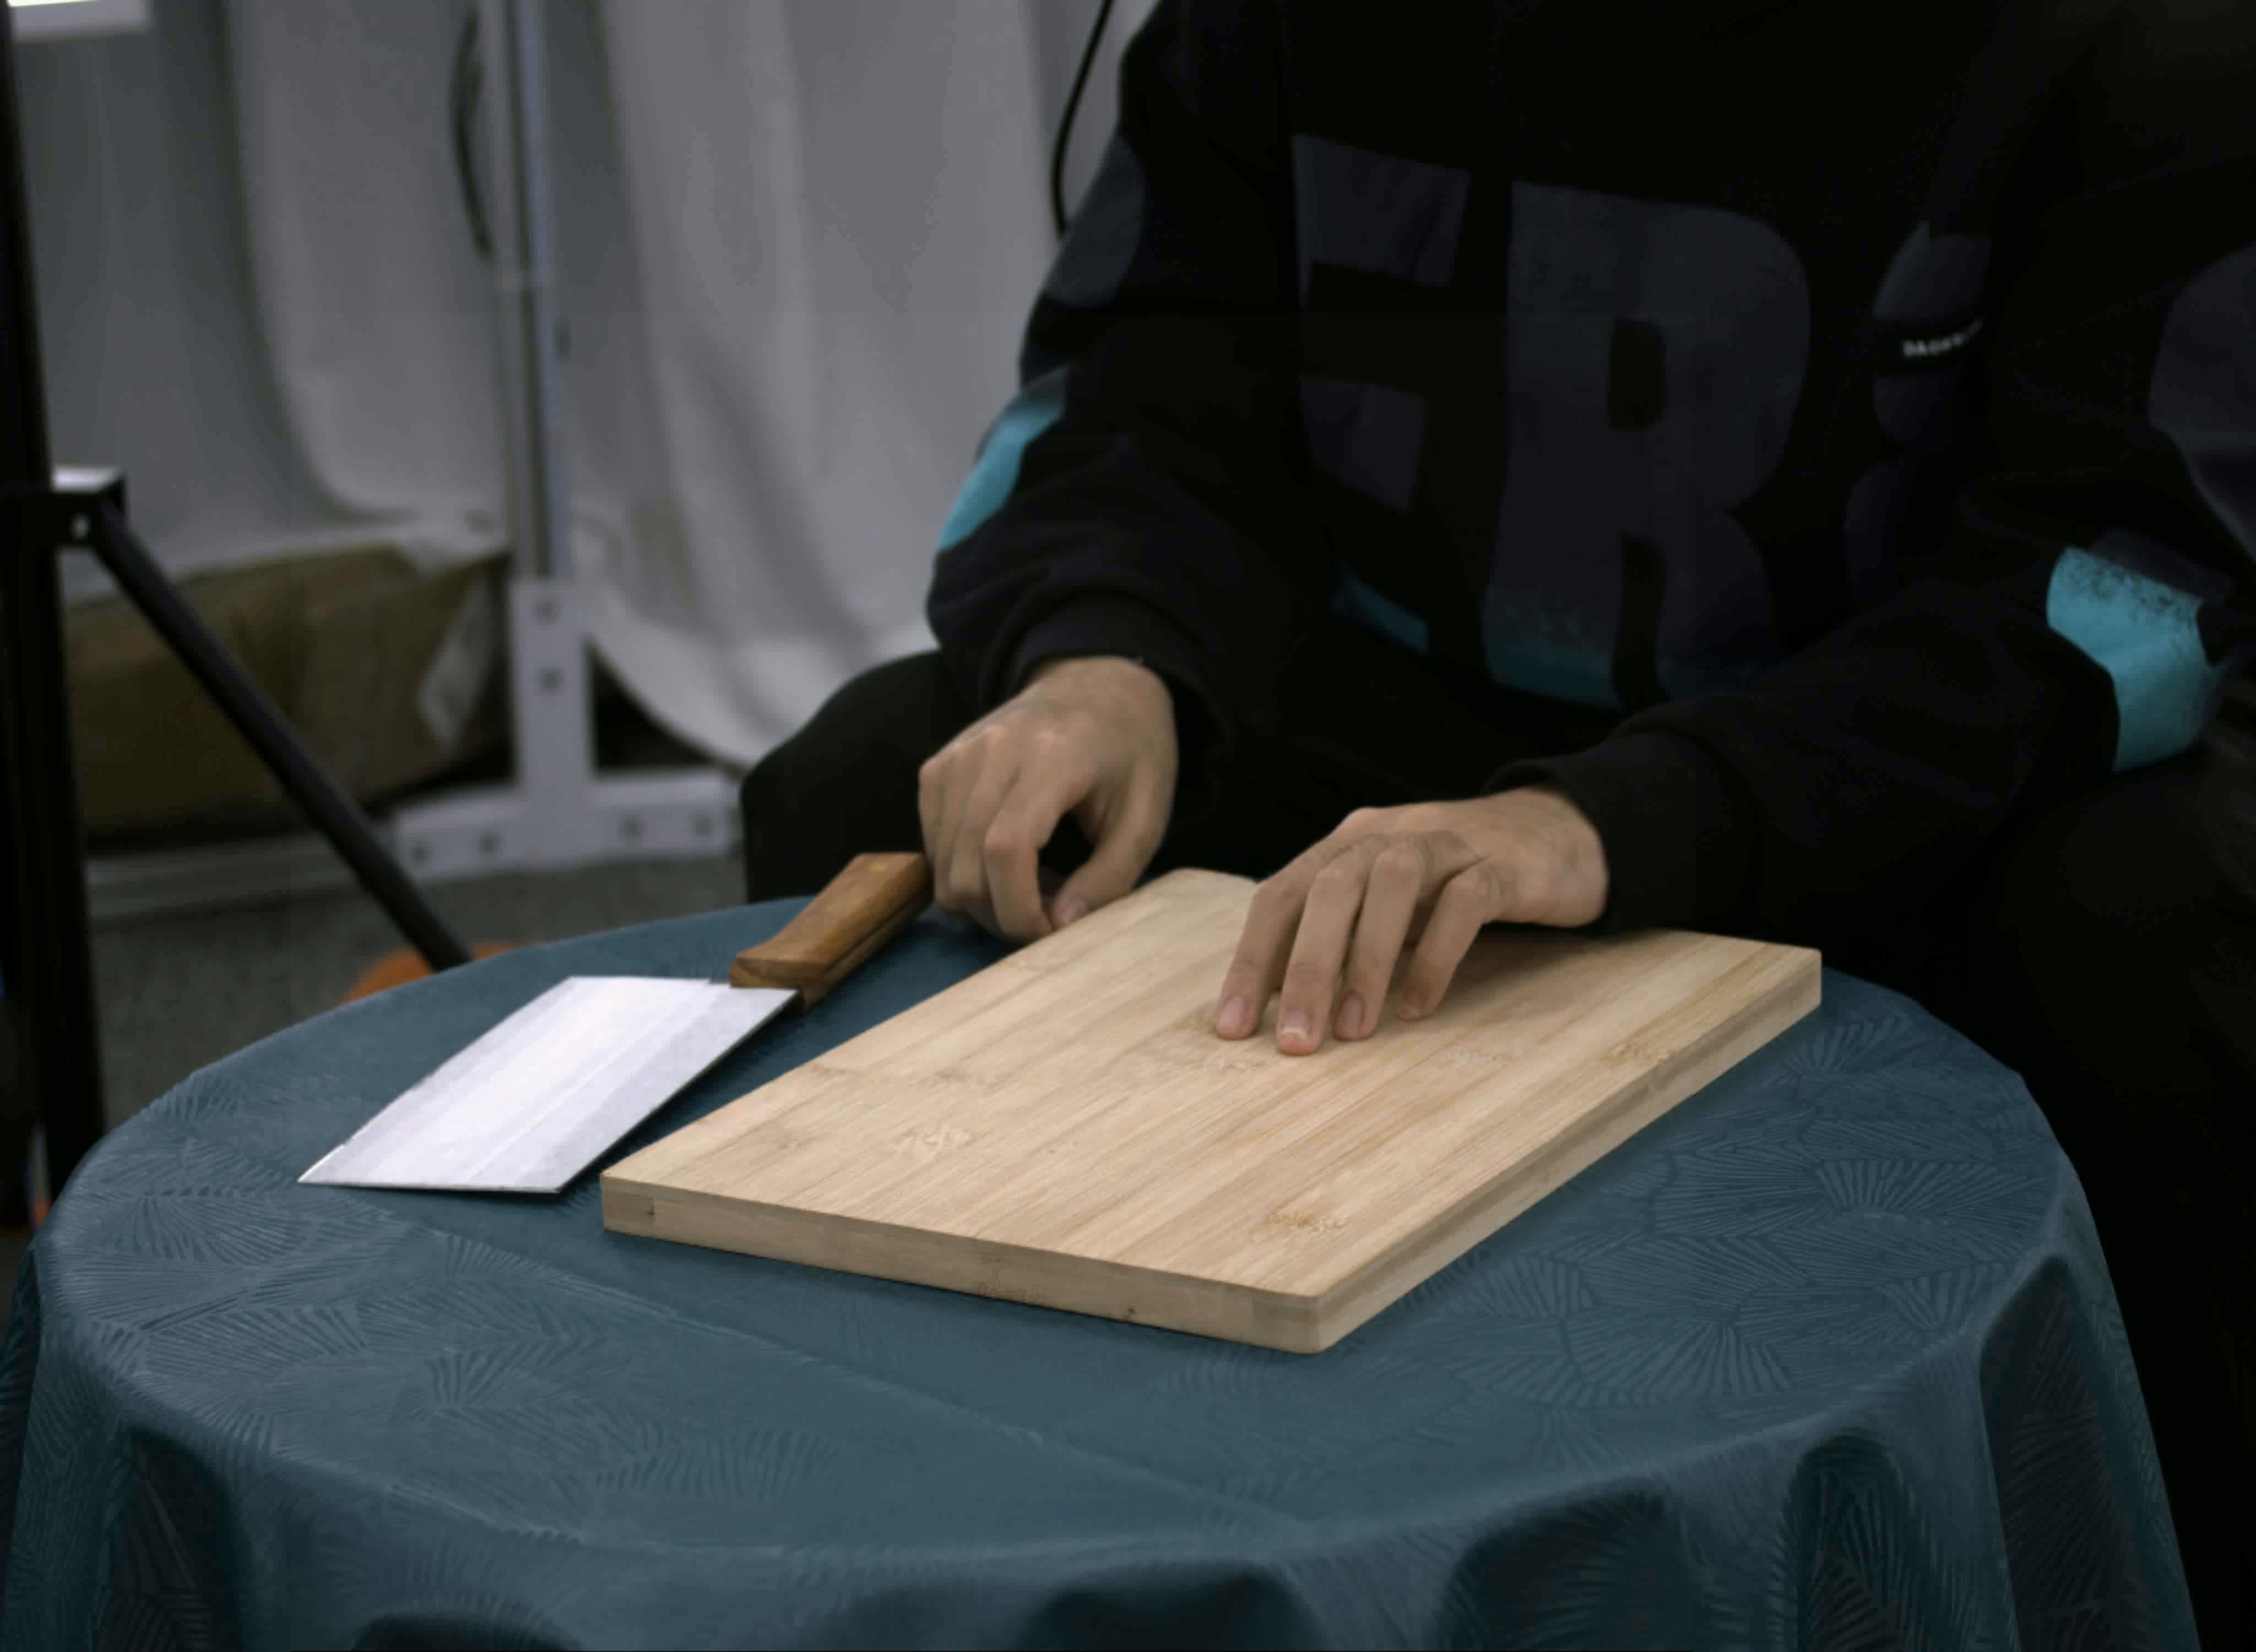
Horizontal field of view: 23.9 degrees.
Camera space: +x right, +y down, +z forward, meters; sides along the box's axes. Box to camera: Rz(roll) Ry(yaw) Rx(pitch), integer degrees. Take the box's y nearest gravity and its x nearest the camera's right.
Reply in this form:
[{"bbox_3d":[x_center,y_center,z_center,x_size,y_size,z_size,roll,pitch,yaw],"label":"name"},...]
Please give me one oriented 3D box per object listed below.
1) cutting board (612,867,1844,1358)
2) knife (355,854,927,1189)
[{"bbox_3d":[0.038,0.079,1.624,0.255,0.023,0.342,7,18,30],"label":"cutting board"},{"bbox_3d":[-0.155,0.062,1.720,0.094,0.021,0.302,-1,17,22],"label":"knife"}]
